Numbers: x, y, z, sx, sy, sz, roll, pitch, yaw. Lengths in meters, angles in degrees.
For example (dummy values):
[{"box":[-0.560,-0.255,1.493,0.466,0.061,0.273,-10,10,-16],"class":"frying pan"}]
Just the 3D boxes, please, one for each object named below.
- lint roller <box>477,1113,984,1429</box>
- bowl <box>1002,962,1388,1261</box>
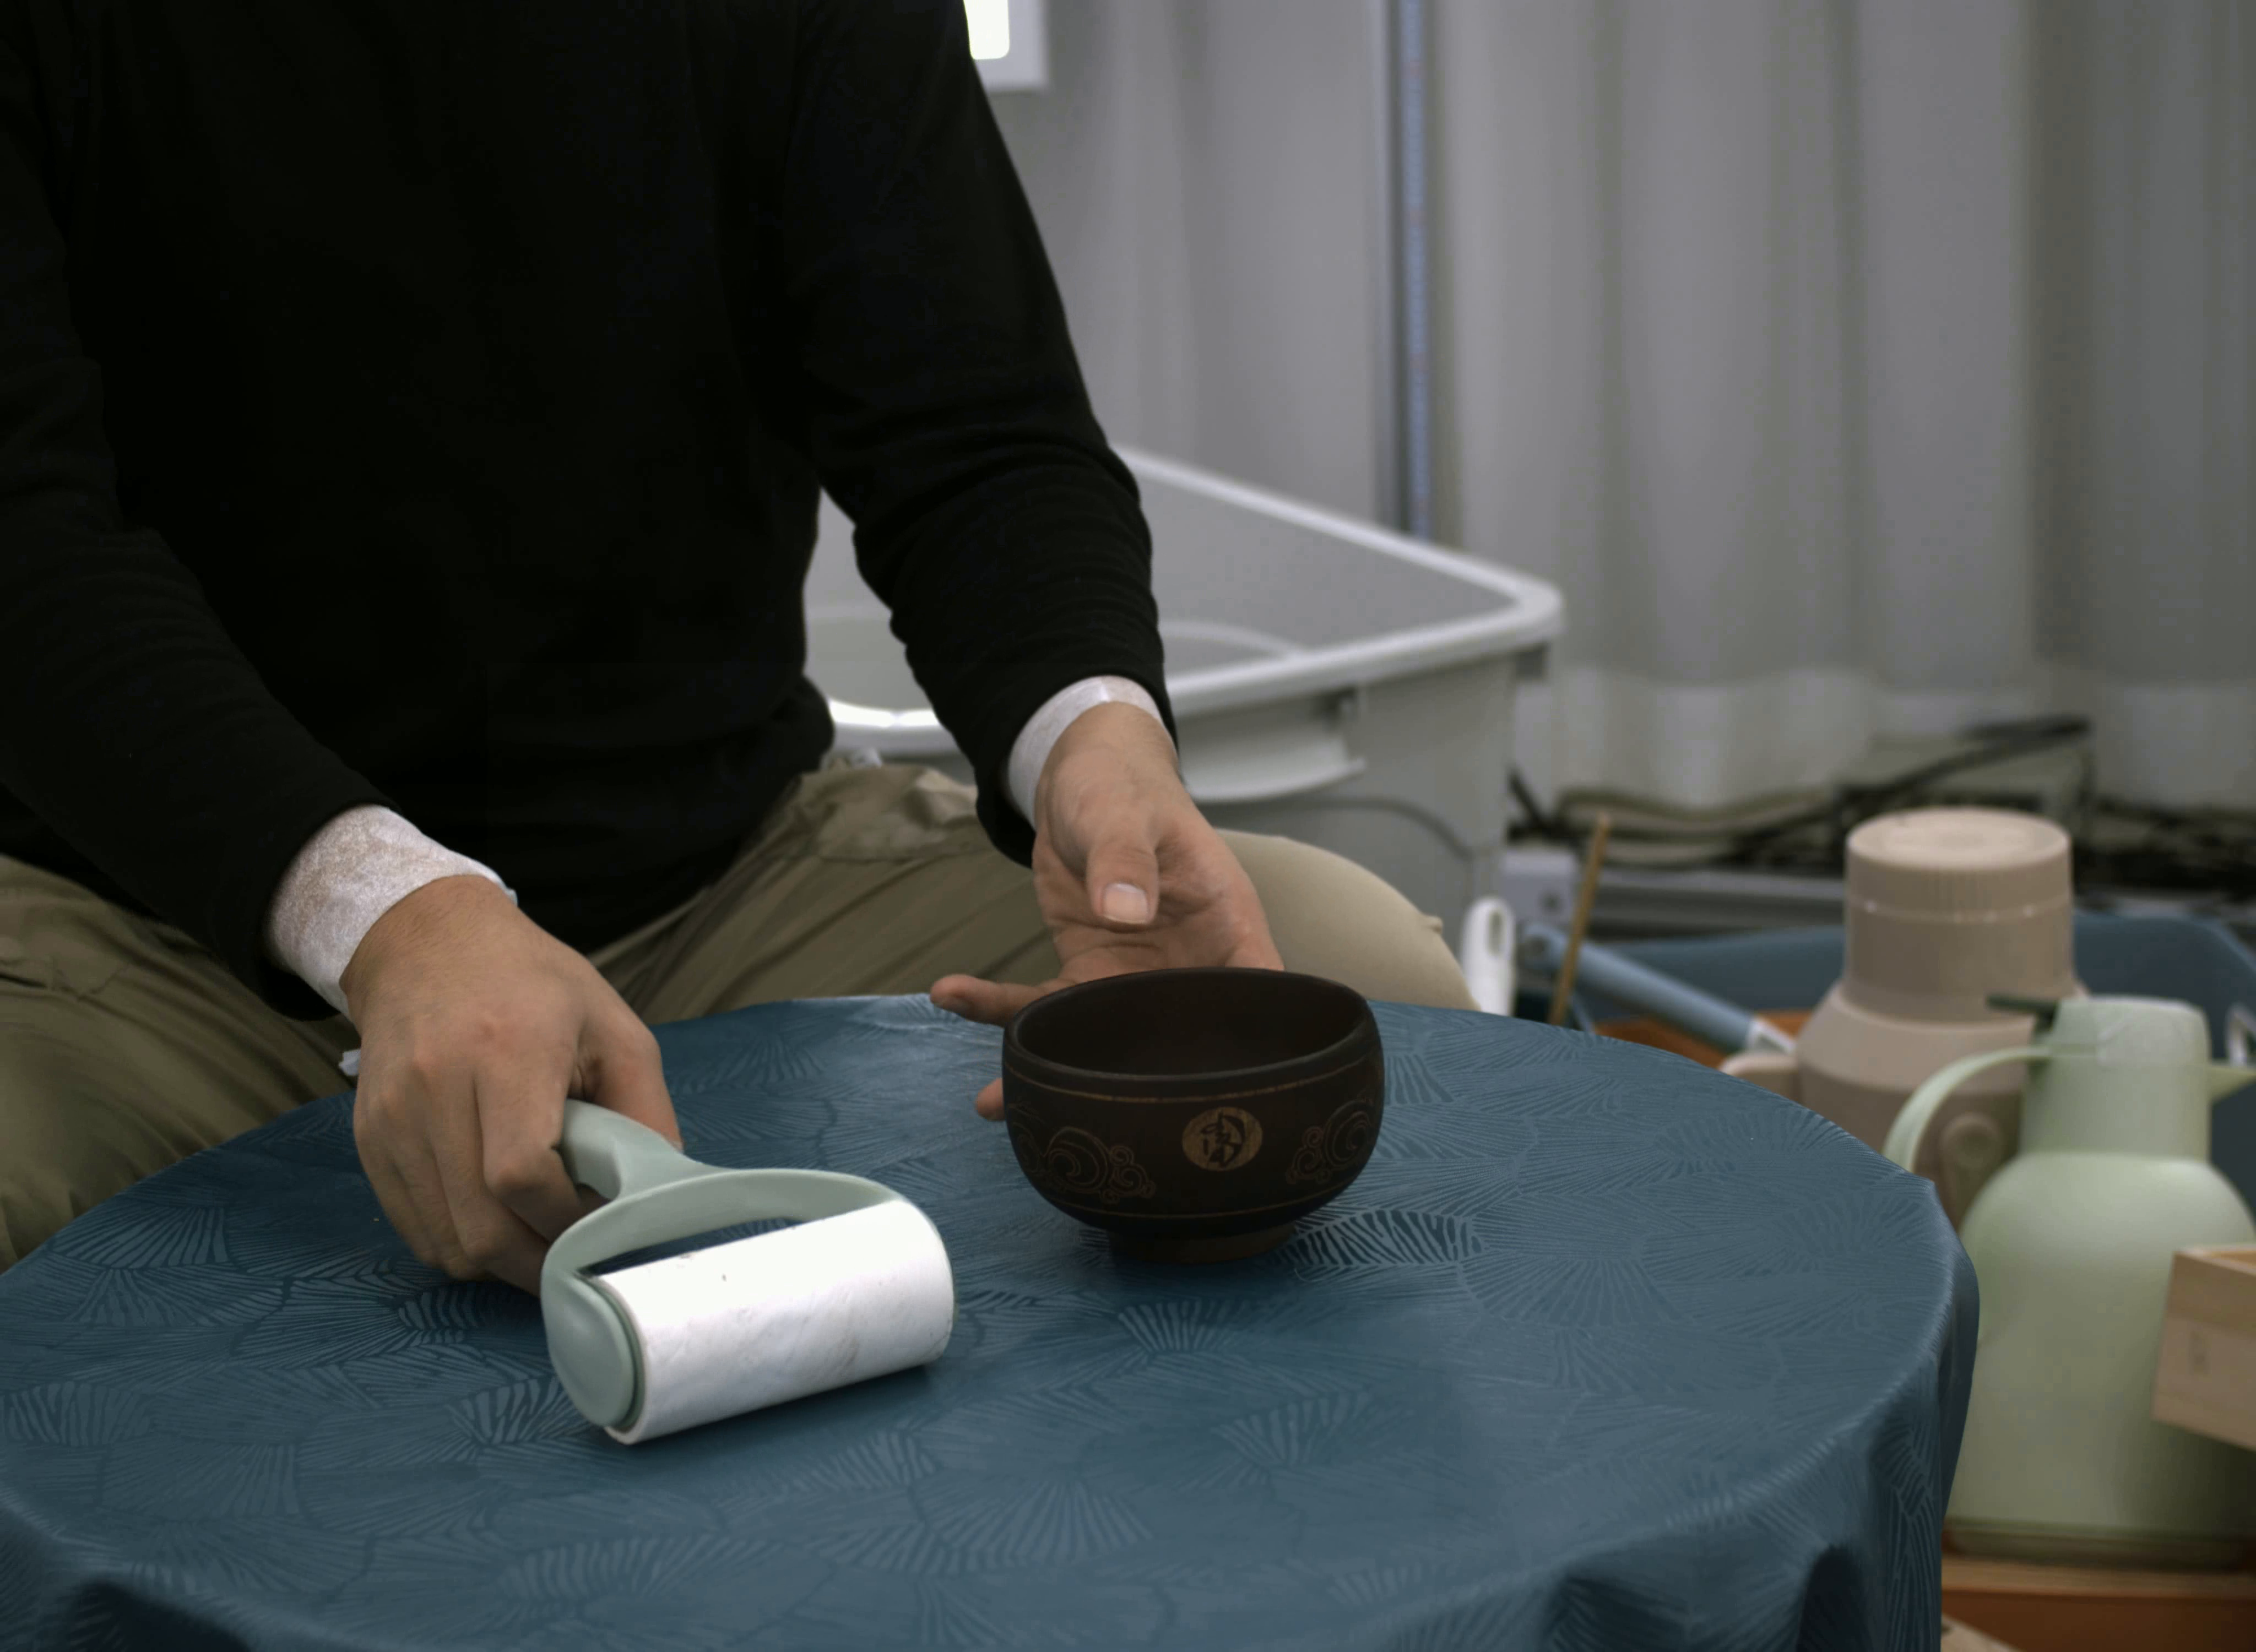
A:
[{"box":[-0.136,0.114,1.607,0.116,0.048,0.199,-13,25,-31],"class":"lint roller"},{"box":[0.021,0.091,1.663,0.117,0.069,0.119,-4,14,1],"class":"bowl"}]
